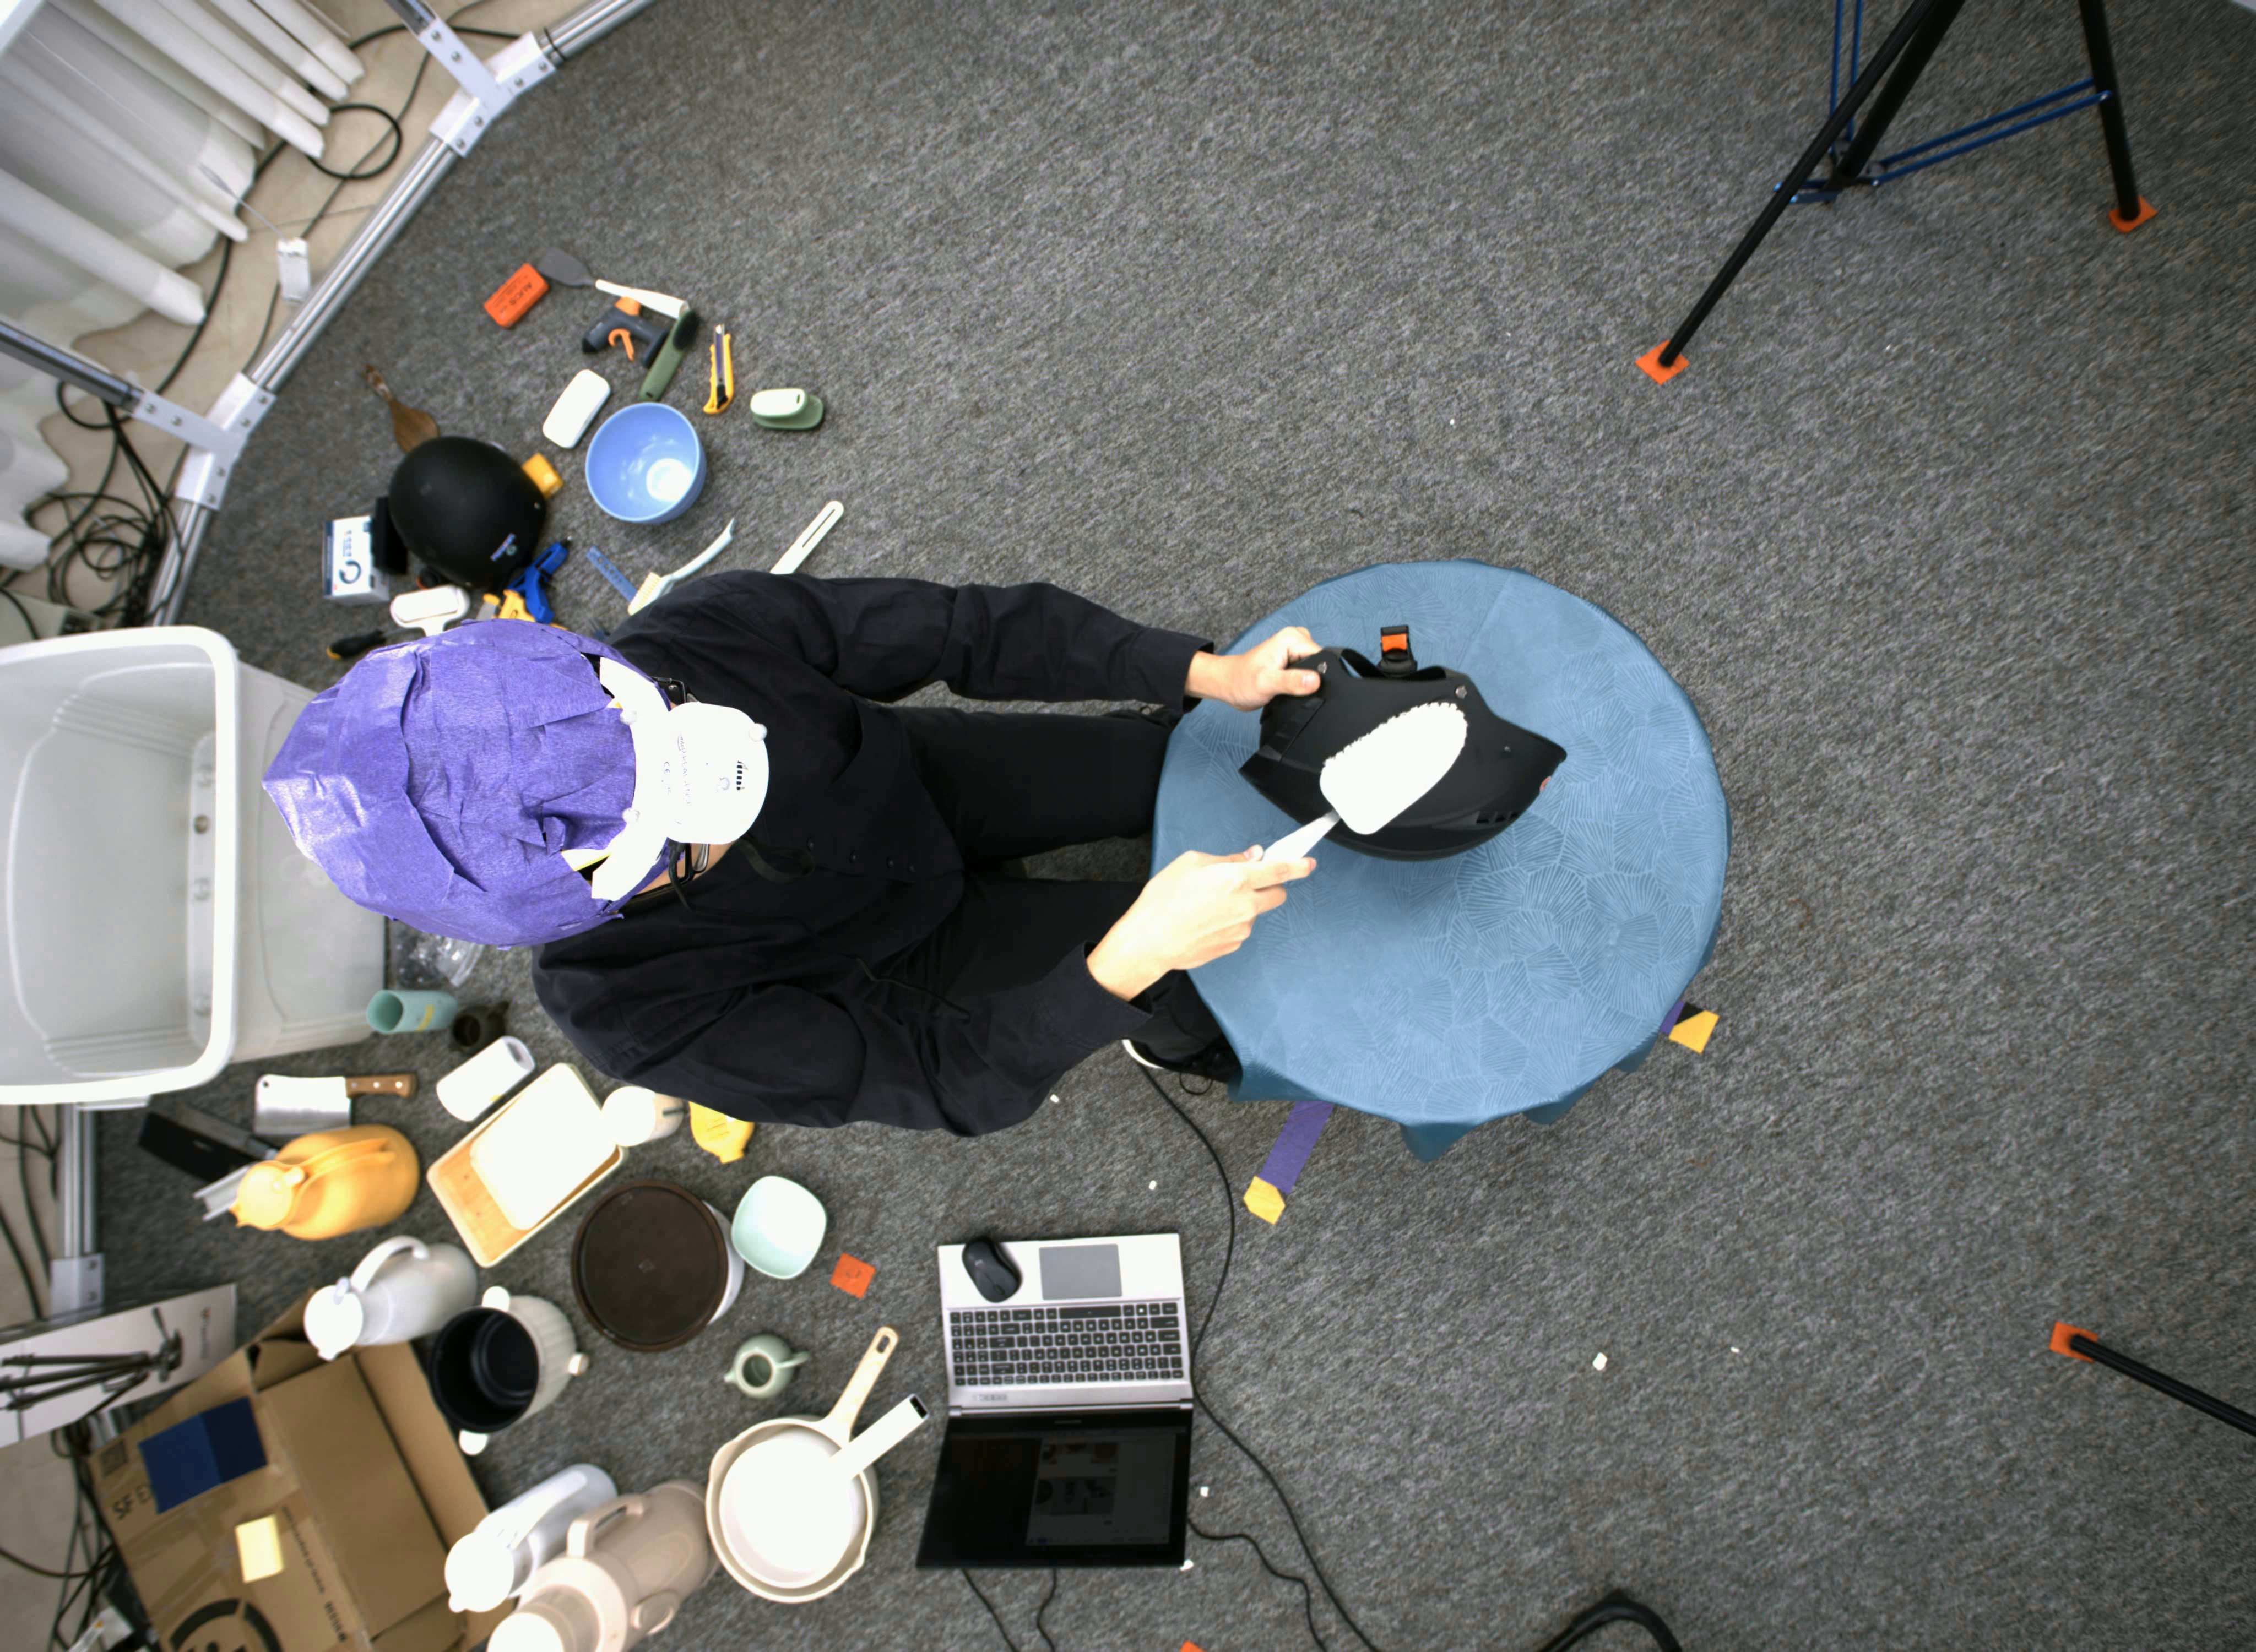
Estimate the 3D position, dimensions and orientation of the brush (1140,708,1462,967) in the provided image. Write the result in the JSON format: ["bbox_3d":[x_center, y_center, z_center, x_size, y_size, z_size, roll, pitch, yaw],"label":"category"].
[{"bbox_3d":[0.141,0.006,1.156,0.327,0.085,0.081,-38,54,8],"label":"brush"}]

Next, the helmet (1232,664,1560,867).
[{"bbox_3d":[0.240,-0.050,1.261,0.277,0.247,0.172,16,89,8],"label":"helmet"}]
